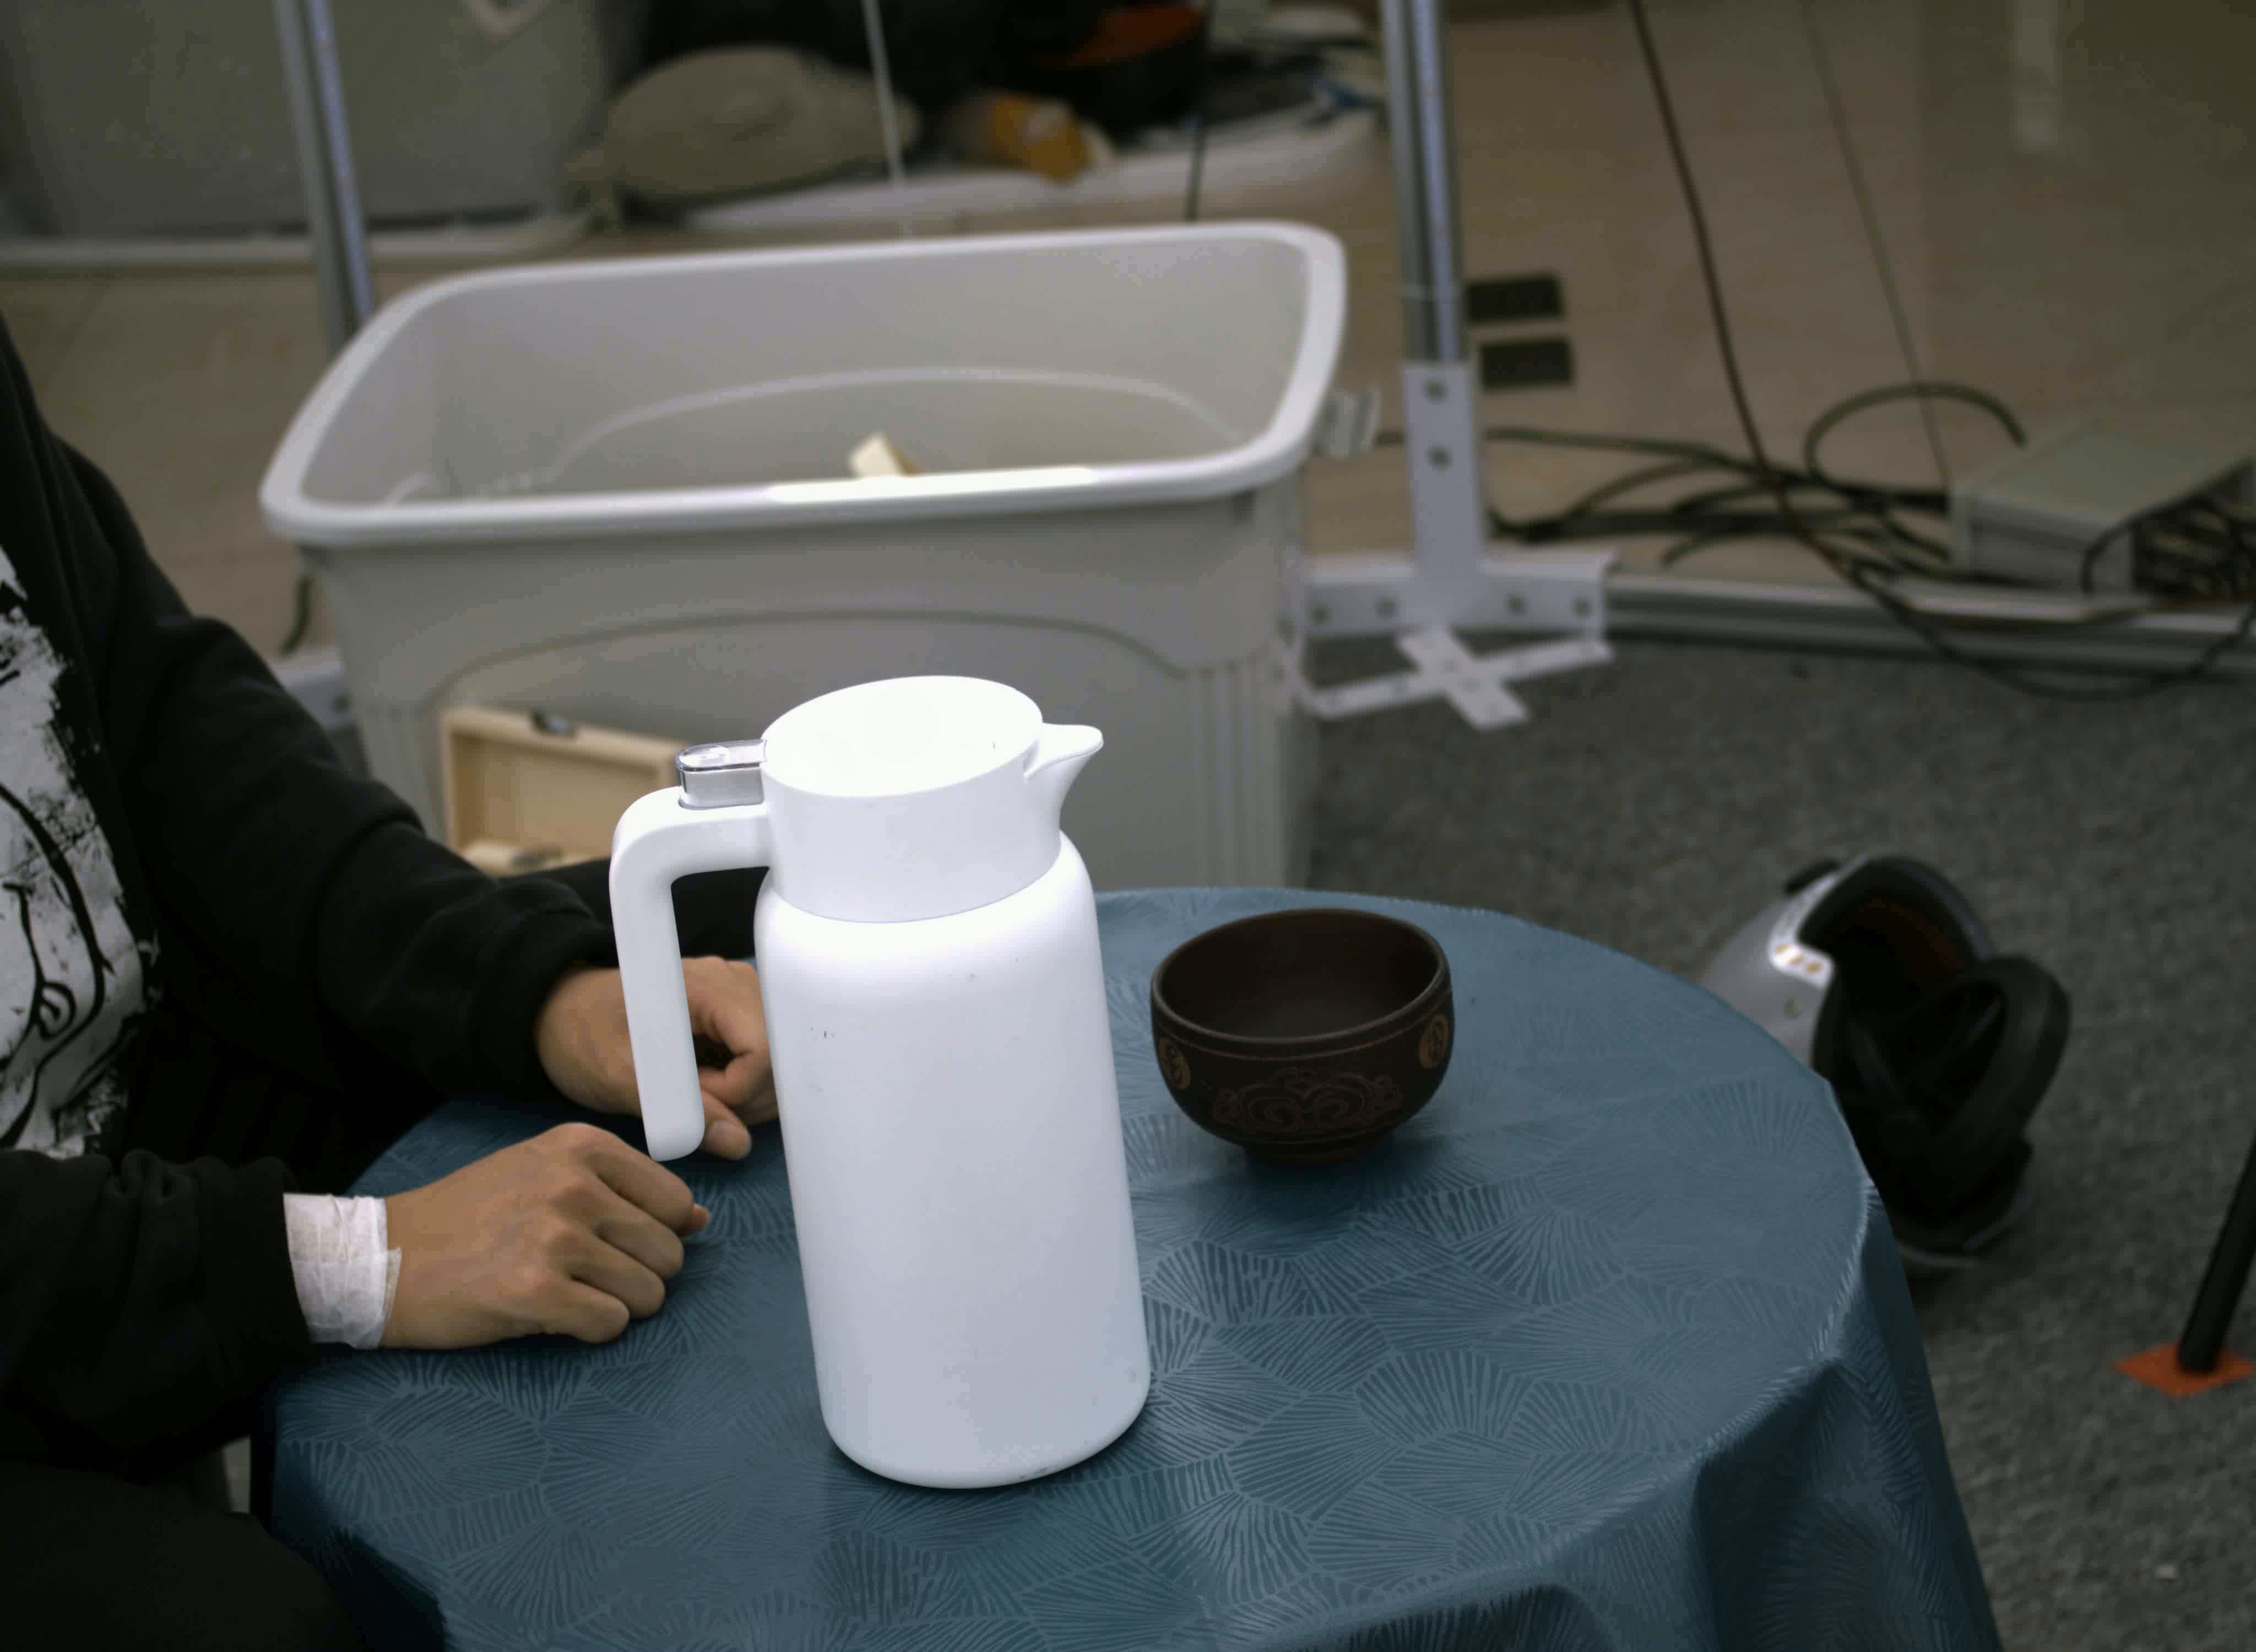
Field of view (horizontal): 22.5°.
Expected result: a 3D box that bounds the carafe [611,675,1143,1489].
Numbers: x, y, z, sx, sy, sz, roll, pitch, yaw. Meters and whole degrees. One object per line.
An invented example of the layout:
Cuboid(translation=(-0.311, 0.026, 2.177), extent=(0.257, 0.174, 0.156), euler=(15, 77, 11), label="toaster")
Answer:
Cuboid(translation=(-0.081, 0.091, 1.953), extent=(0.172, 0.273, 0.122), euler=(-7, 28, -1), label="carafe")

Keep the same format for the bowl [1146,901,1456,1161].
Cuboid(translation=(0.068, 0.084, 2.162), extent=(0.118, 0.071, 0.116), euler=(-6, 26, 3), label="bowl")
